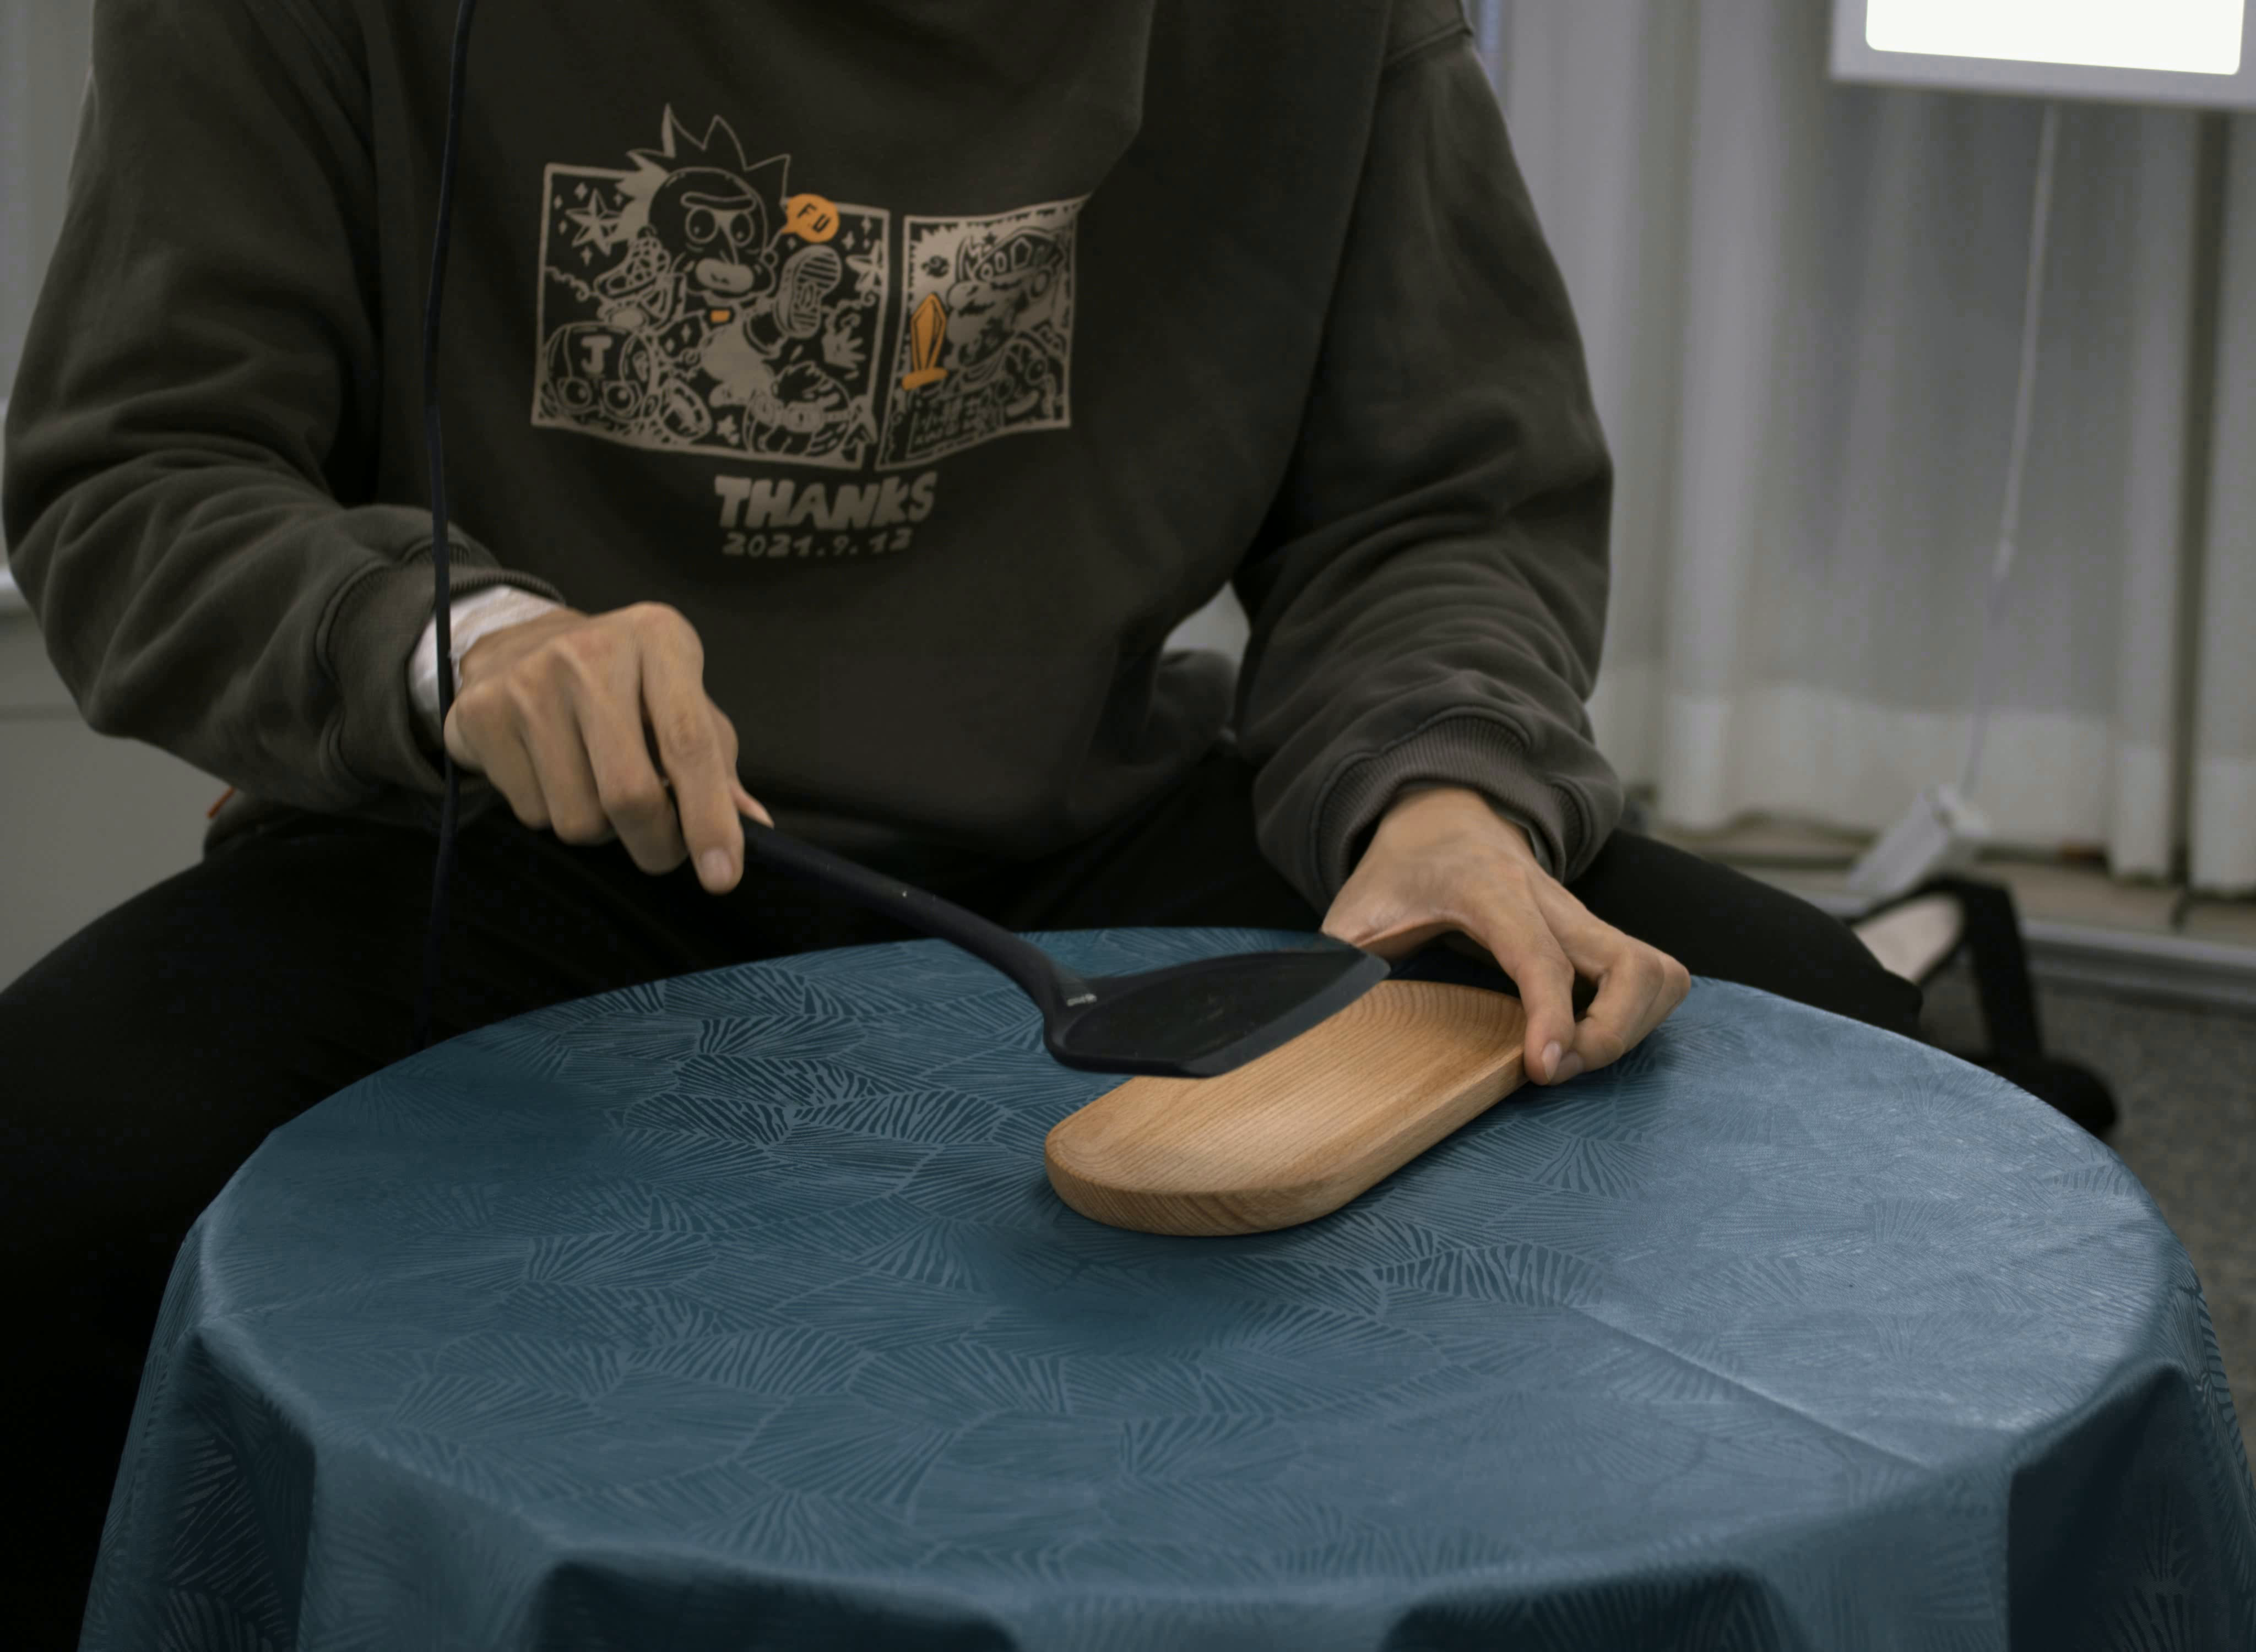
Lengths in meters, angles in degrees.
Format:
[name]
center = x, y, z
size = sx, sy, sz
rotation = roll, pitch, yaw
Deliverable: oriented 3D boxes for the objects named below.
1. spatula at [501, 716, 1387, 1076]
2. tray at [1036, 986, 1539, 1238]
[spatula]
center = -0.074, 0.014, 1.638
size = 0.322, 0.041, 0.100
rotation = 25, 32, 28
[tray]
center = 0.054, 0.090, 1.684
size = 0.100, 0.020, 0.232
rotation = 8, 18, 28
